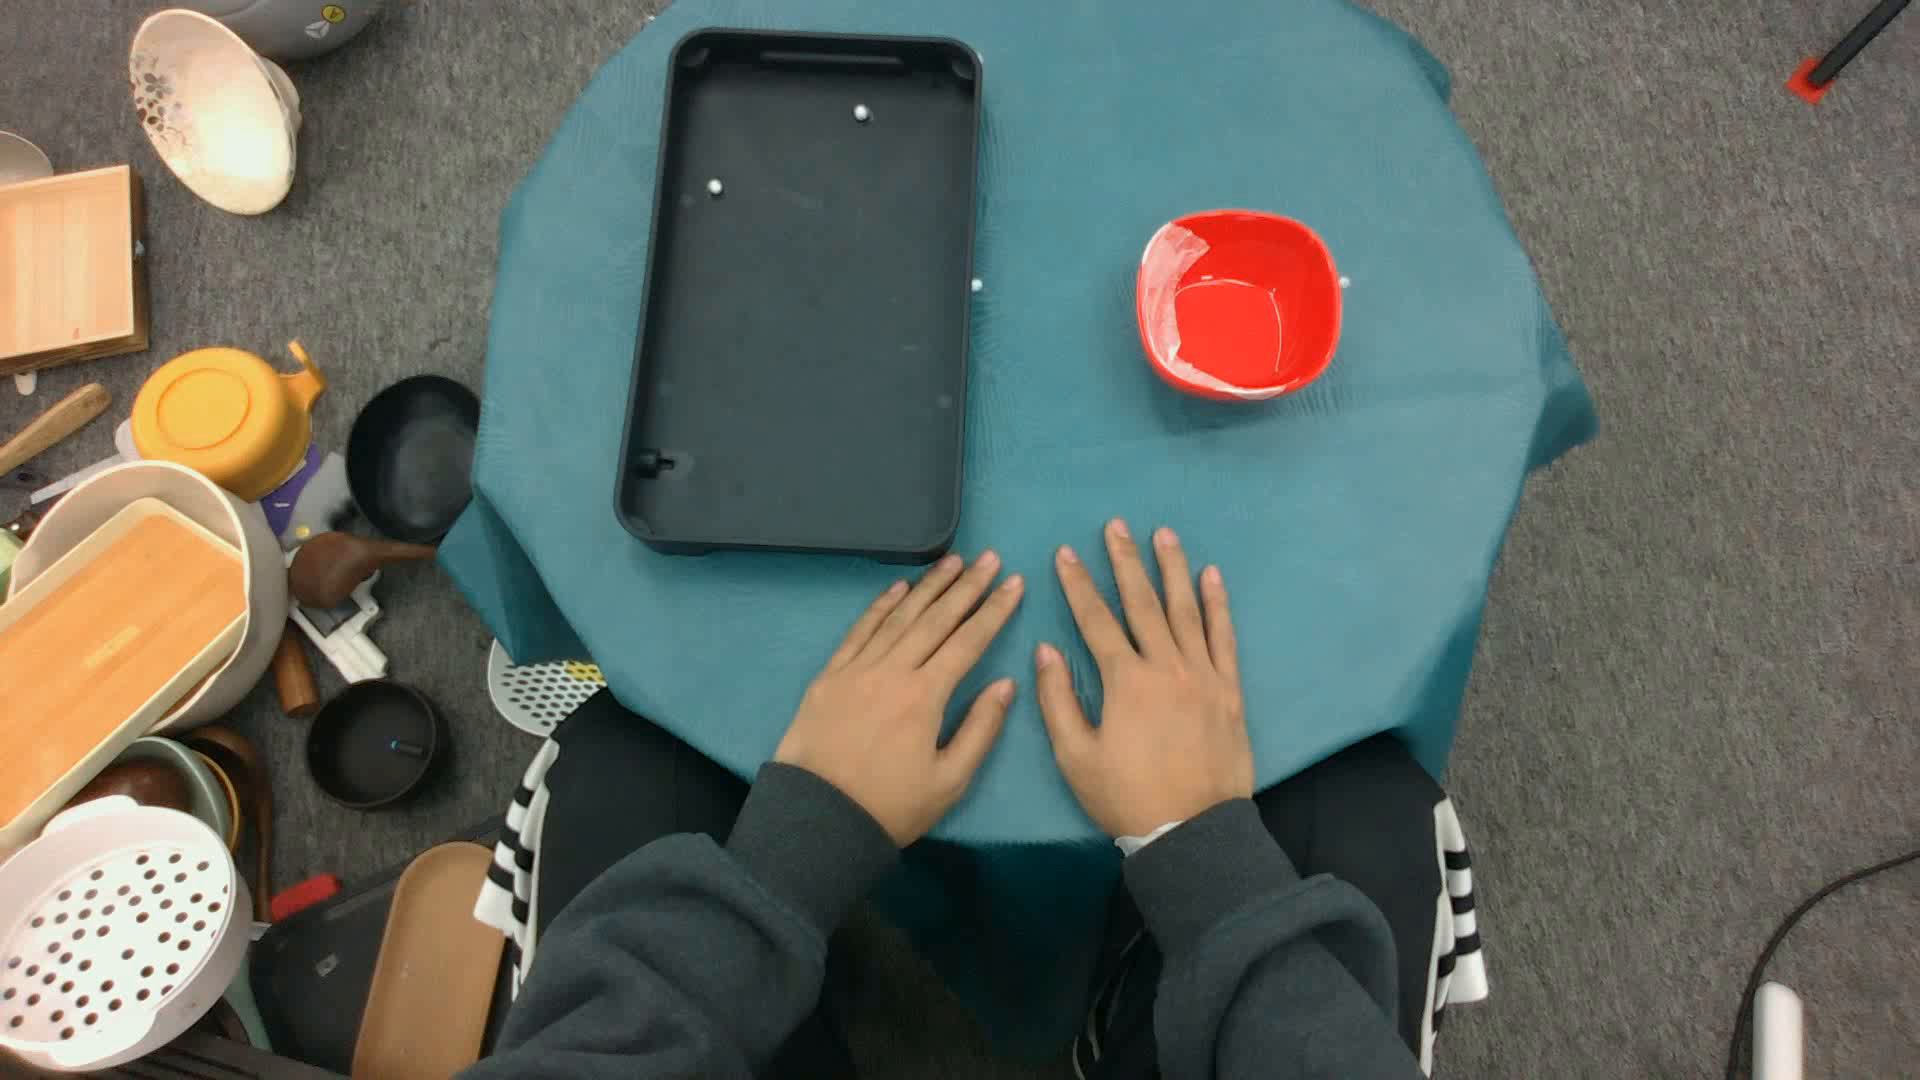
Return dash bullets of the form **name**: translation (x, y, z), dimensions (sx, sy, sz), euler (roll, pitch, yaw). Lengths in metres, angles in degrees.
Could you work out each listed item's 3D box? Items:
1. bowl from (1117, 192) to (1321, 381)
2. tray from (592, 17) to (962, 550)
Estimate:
- **bowl**: translation (0.139, -0.132, 0.764), dimensions (0.119, 0.051, 0.119), euler (1, 71, -2)
- **tray**: translation (-0.095, -0.150, 0.774), dimensions (0.184, 0.037, 0.319), euler (2, 71, 0)
